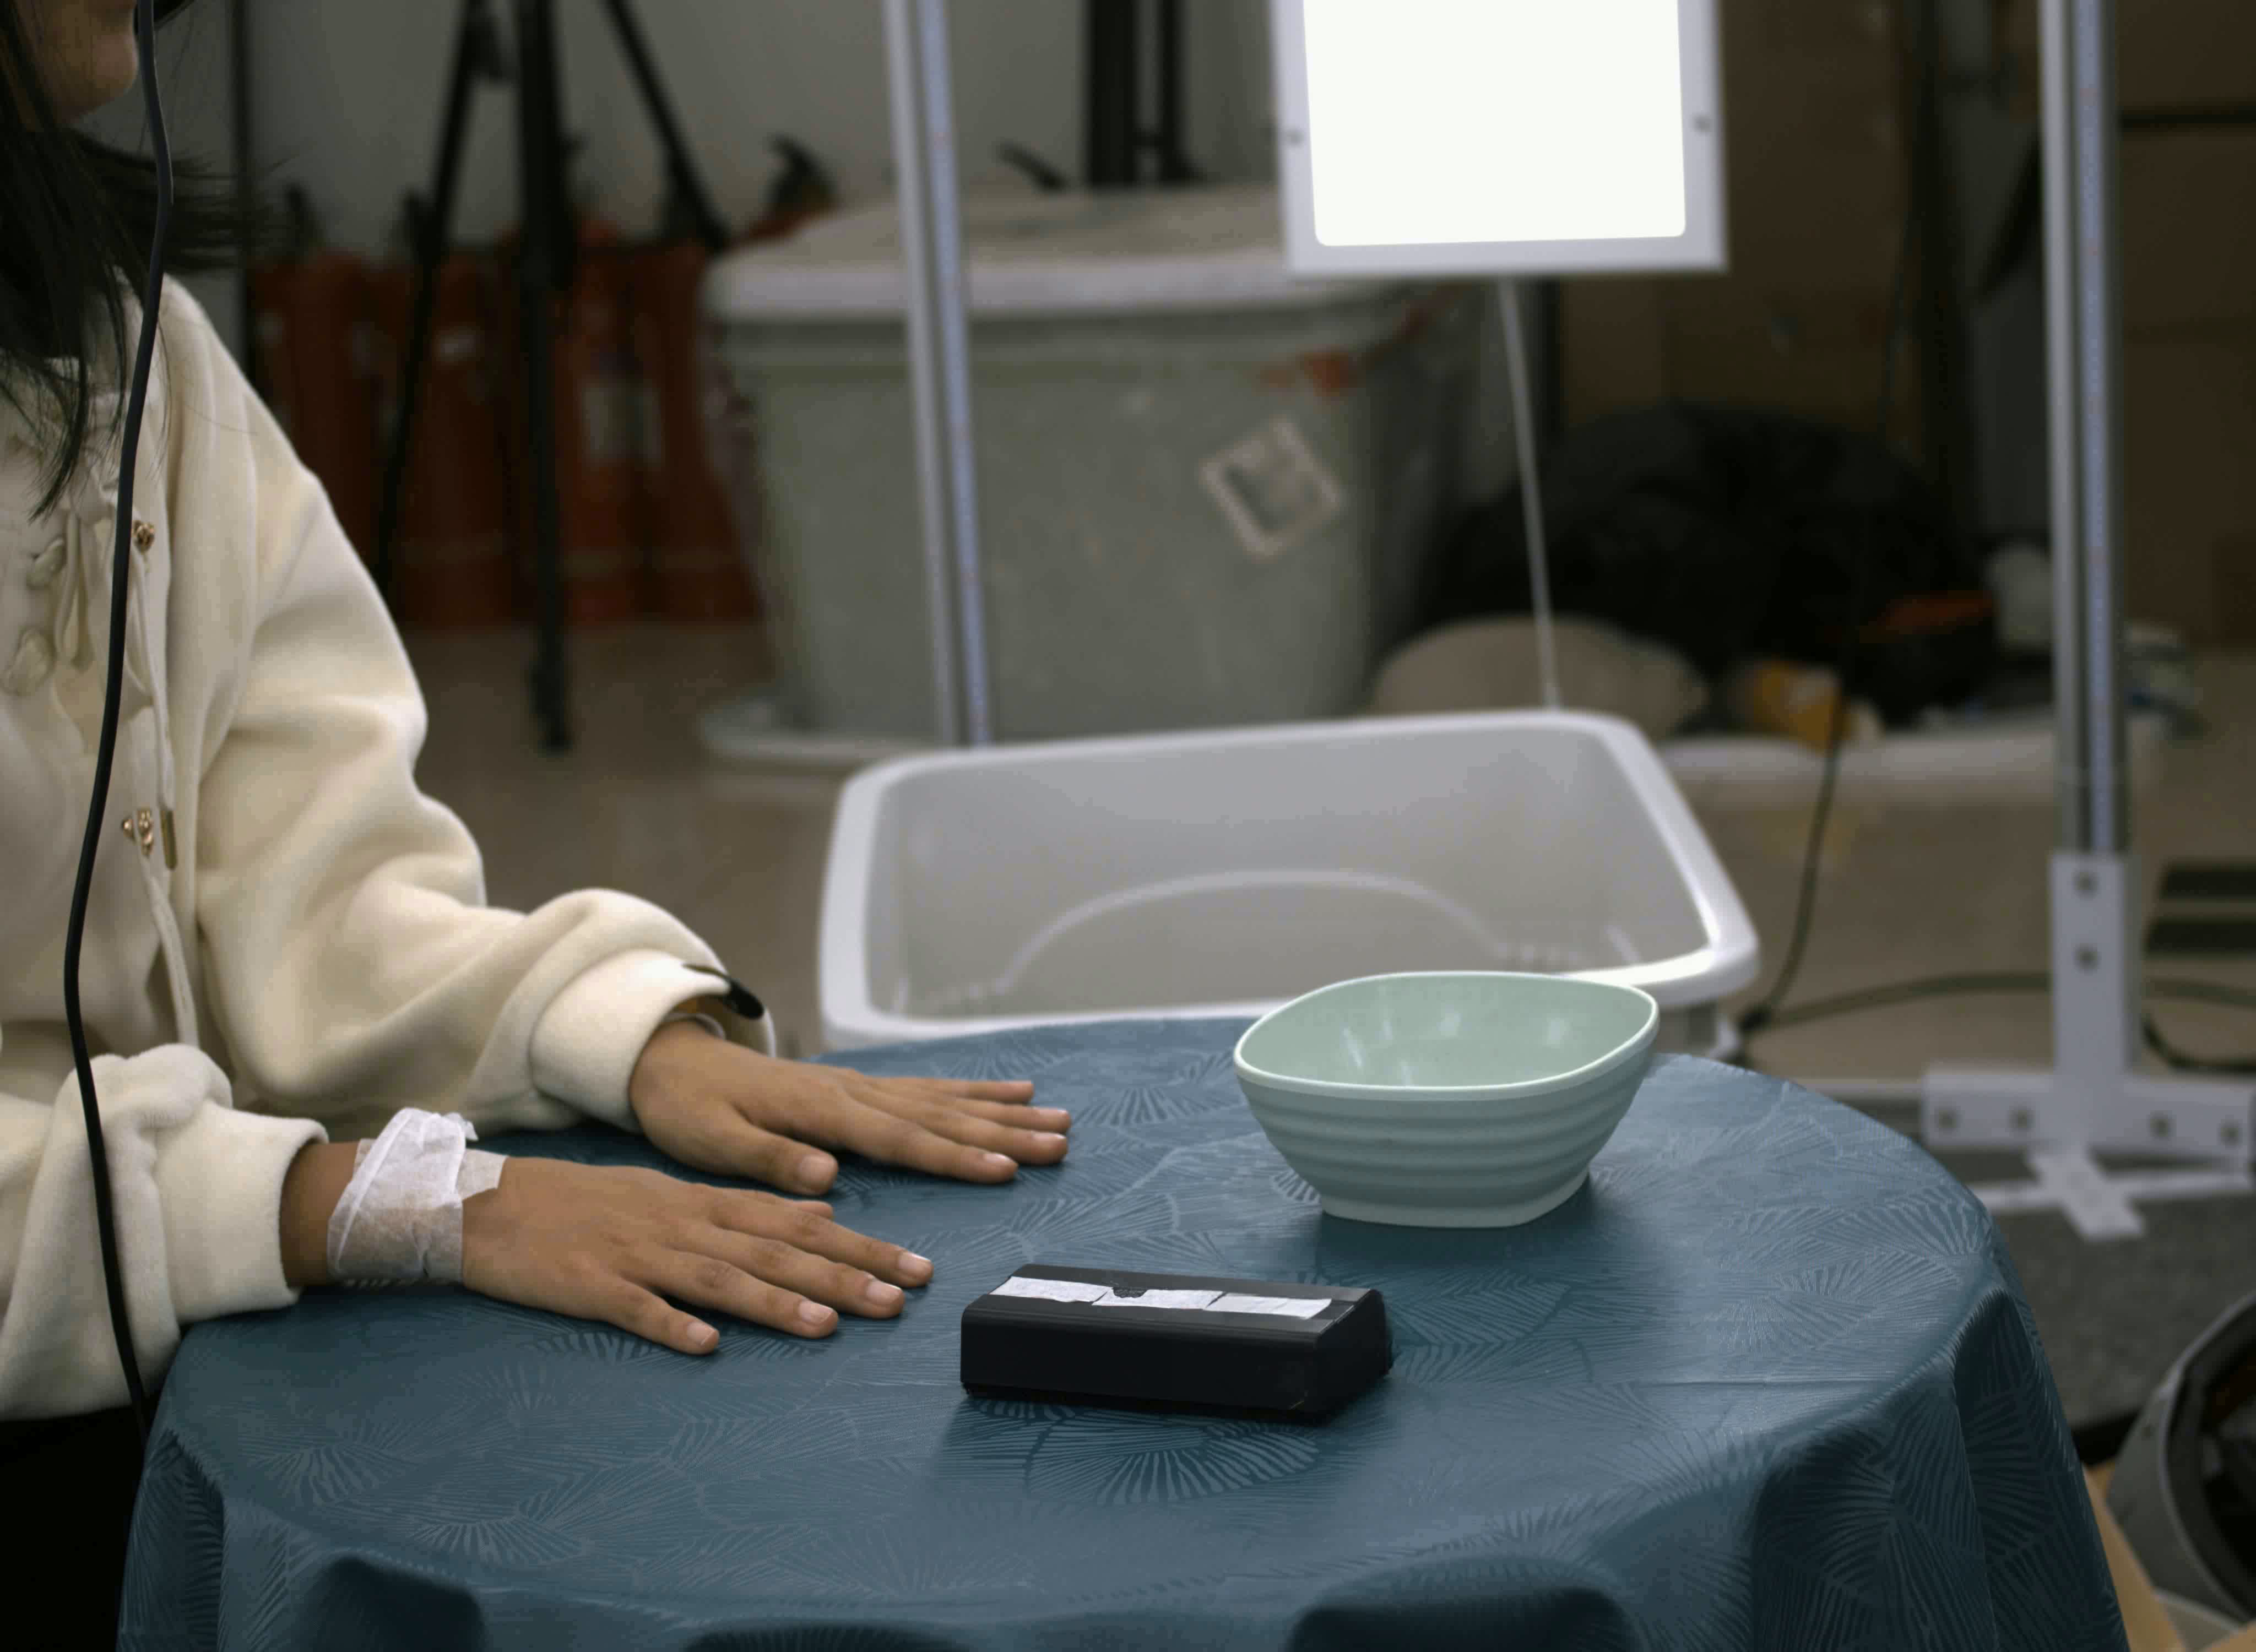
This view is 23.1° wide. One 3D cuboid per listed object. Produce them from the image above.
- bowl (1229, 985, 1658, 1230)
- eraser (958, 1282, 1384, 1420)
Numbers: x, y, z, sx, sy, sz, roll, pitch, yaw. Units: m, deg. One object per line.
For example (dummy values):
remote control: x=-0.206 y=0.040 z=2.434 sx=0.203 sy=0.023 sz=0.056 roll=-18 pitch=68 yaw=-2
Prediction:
bowl: x=0.109 y=0.097 z=1.861 sx=0.151 sy=0.059 sz=0.151 roll=-4 pitch=11 yaw=-1
eraser: x=0.015 y=0.161 z=1.697 sx=0.127 sy=0.030 sz=0.052 roll=-1 pitch=12 yaw=26
